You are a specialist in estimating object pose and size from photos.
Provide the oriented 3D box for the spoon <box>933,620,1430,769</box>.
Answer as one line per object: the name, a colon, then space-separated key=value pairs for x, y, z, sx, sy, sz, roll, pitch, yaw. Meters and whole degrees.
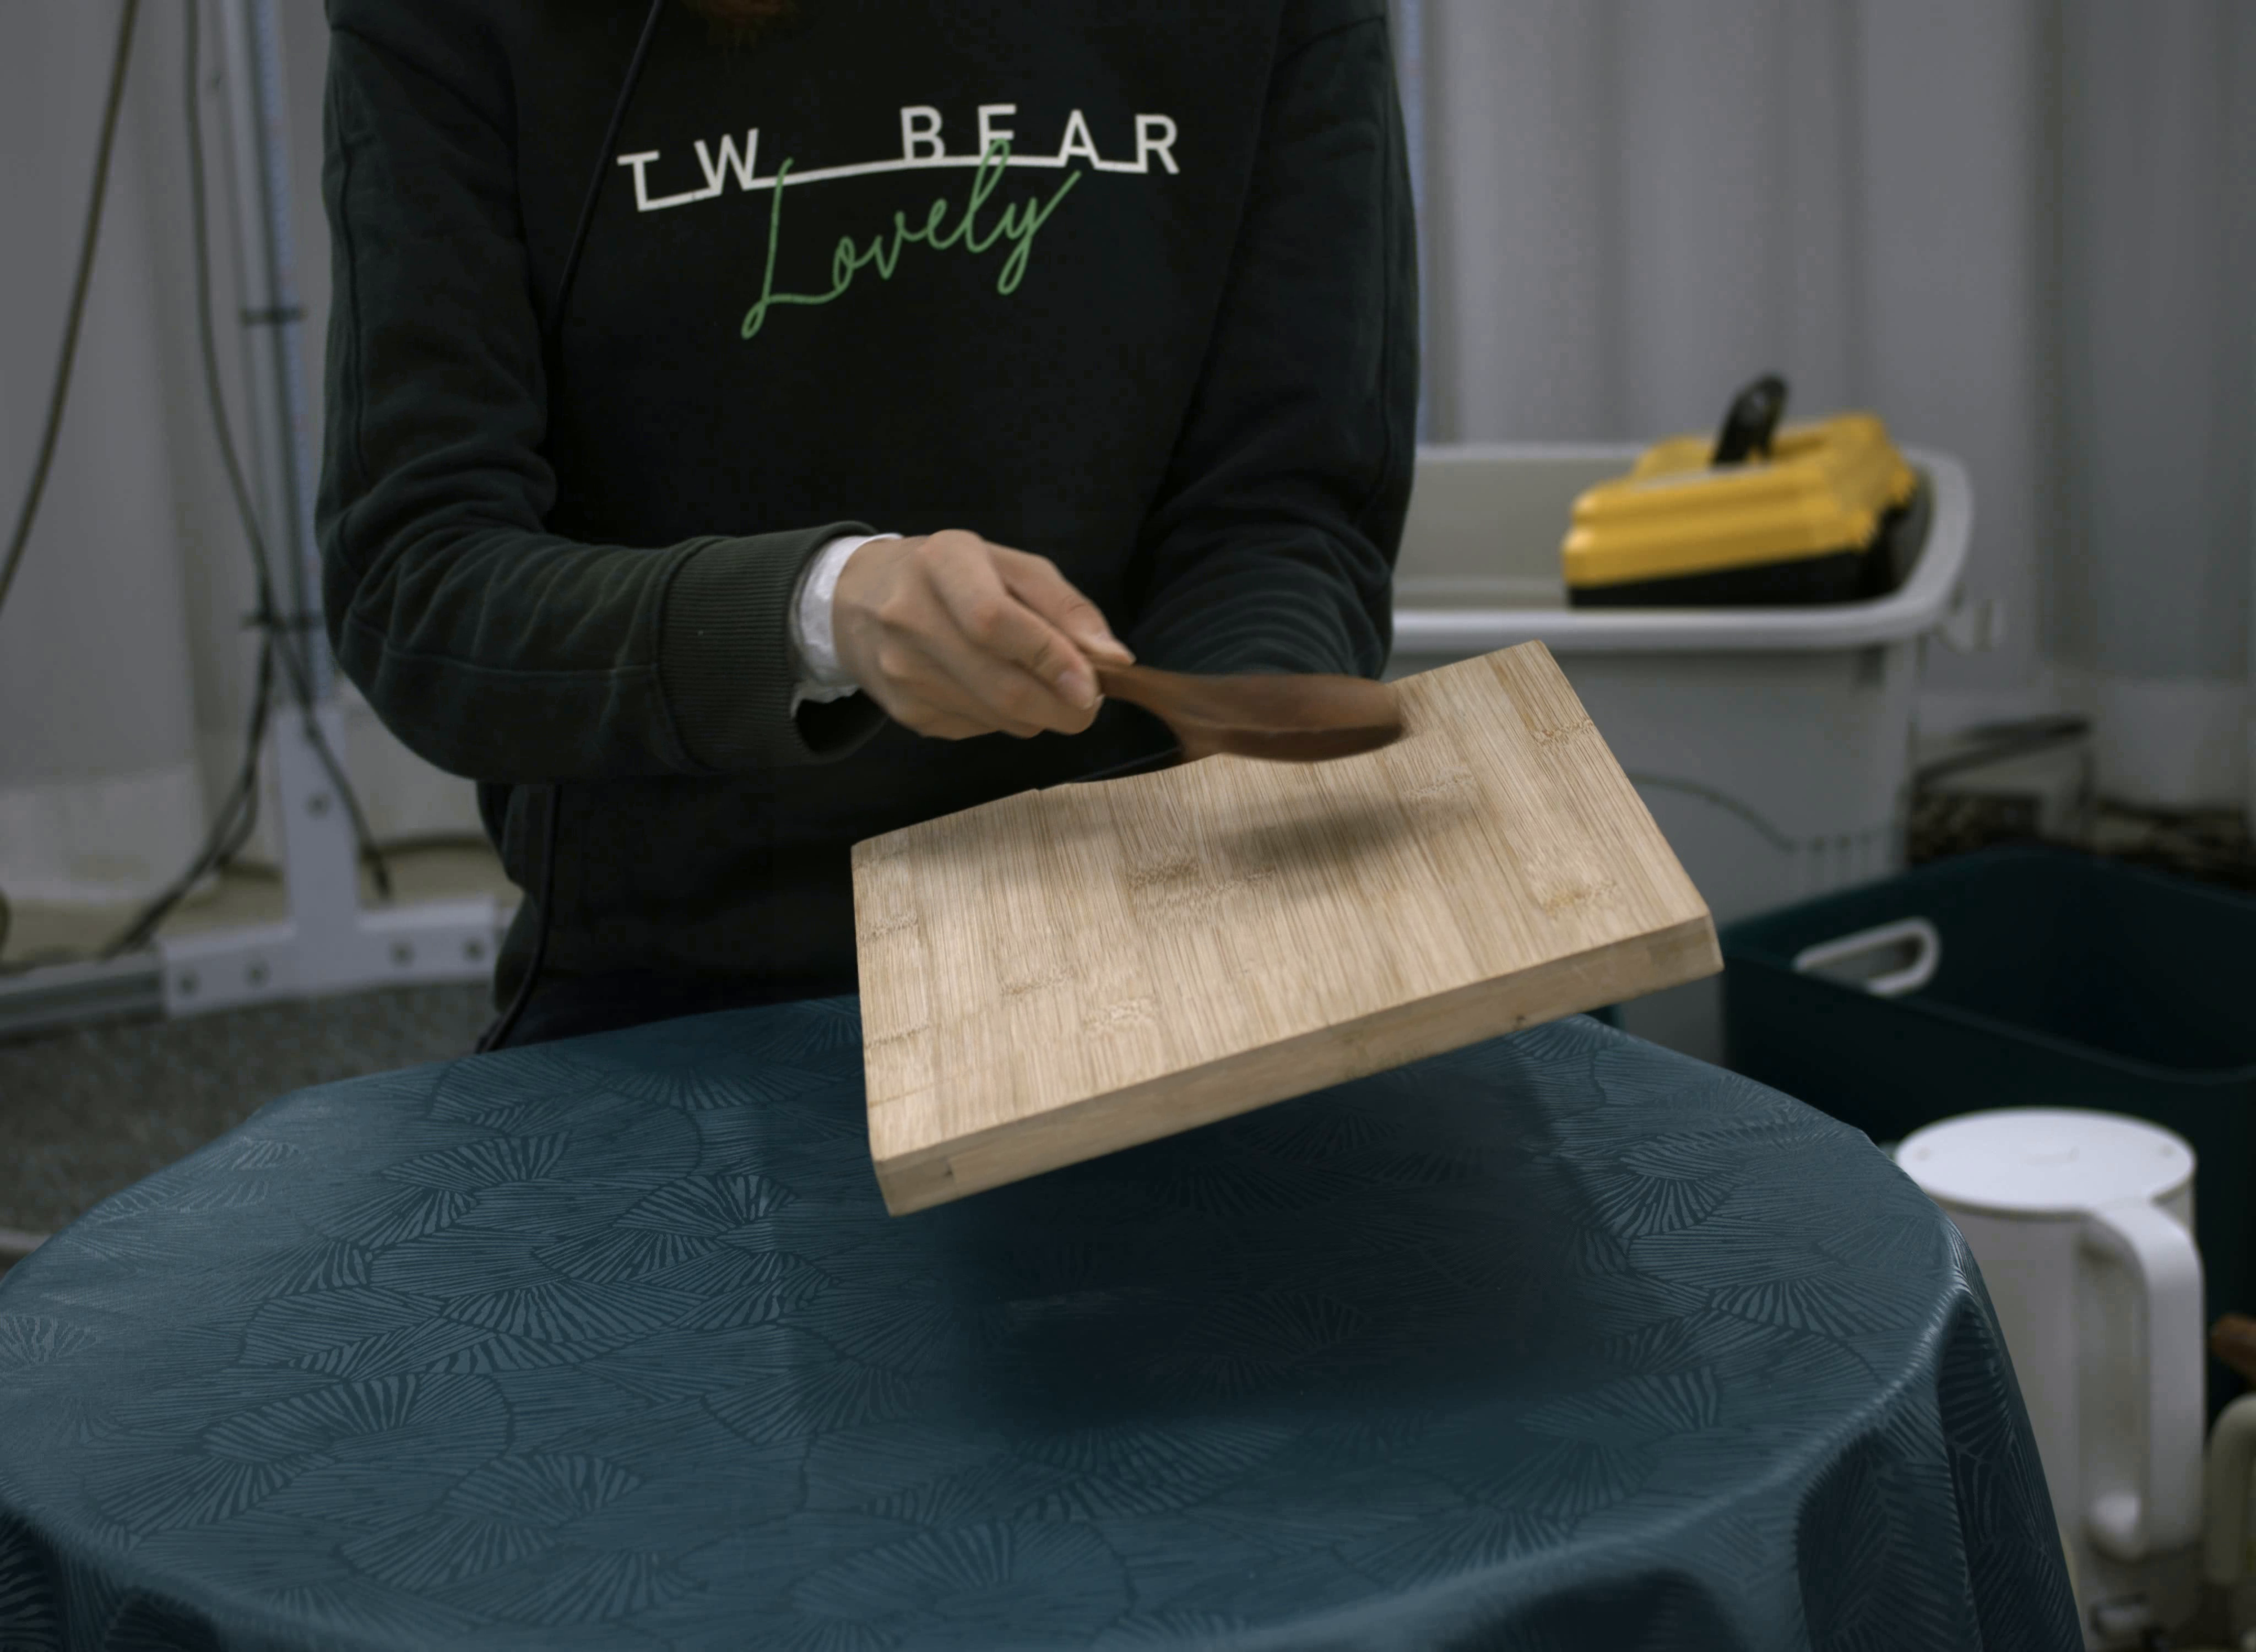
spoon: x=0.010 y=-0.041 z=1.703 sx=0.075 sy=0.017 sz=0.217 roll=-15 pitch=19 yaw=-36

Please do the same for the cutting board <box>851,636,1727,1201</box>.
cutting board: x=0.036 y=0.022 z=1.660 sx=0.250 sy=0.023 sz=0.351 roll=-16 pitch=15 yaw=-1
